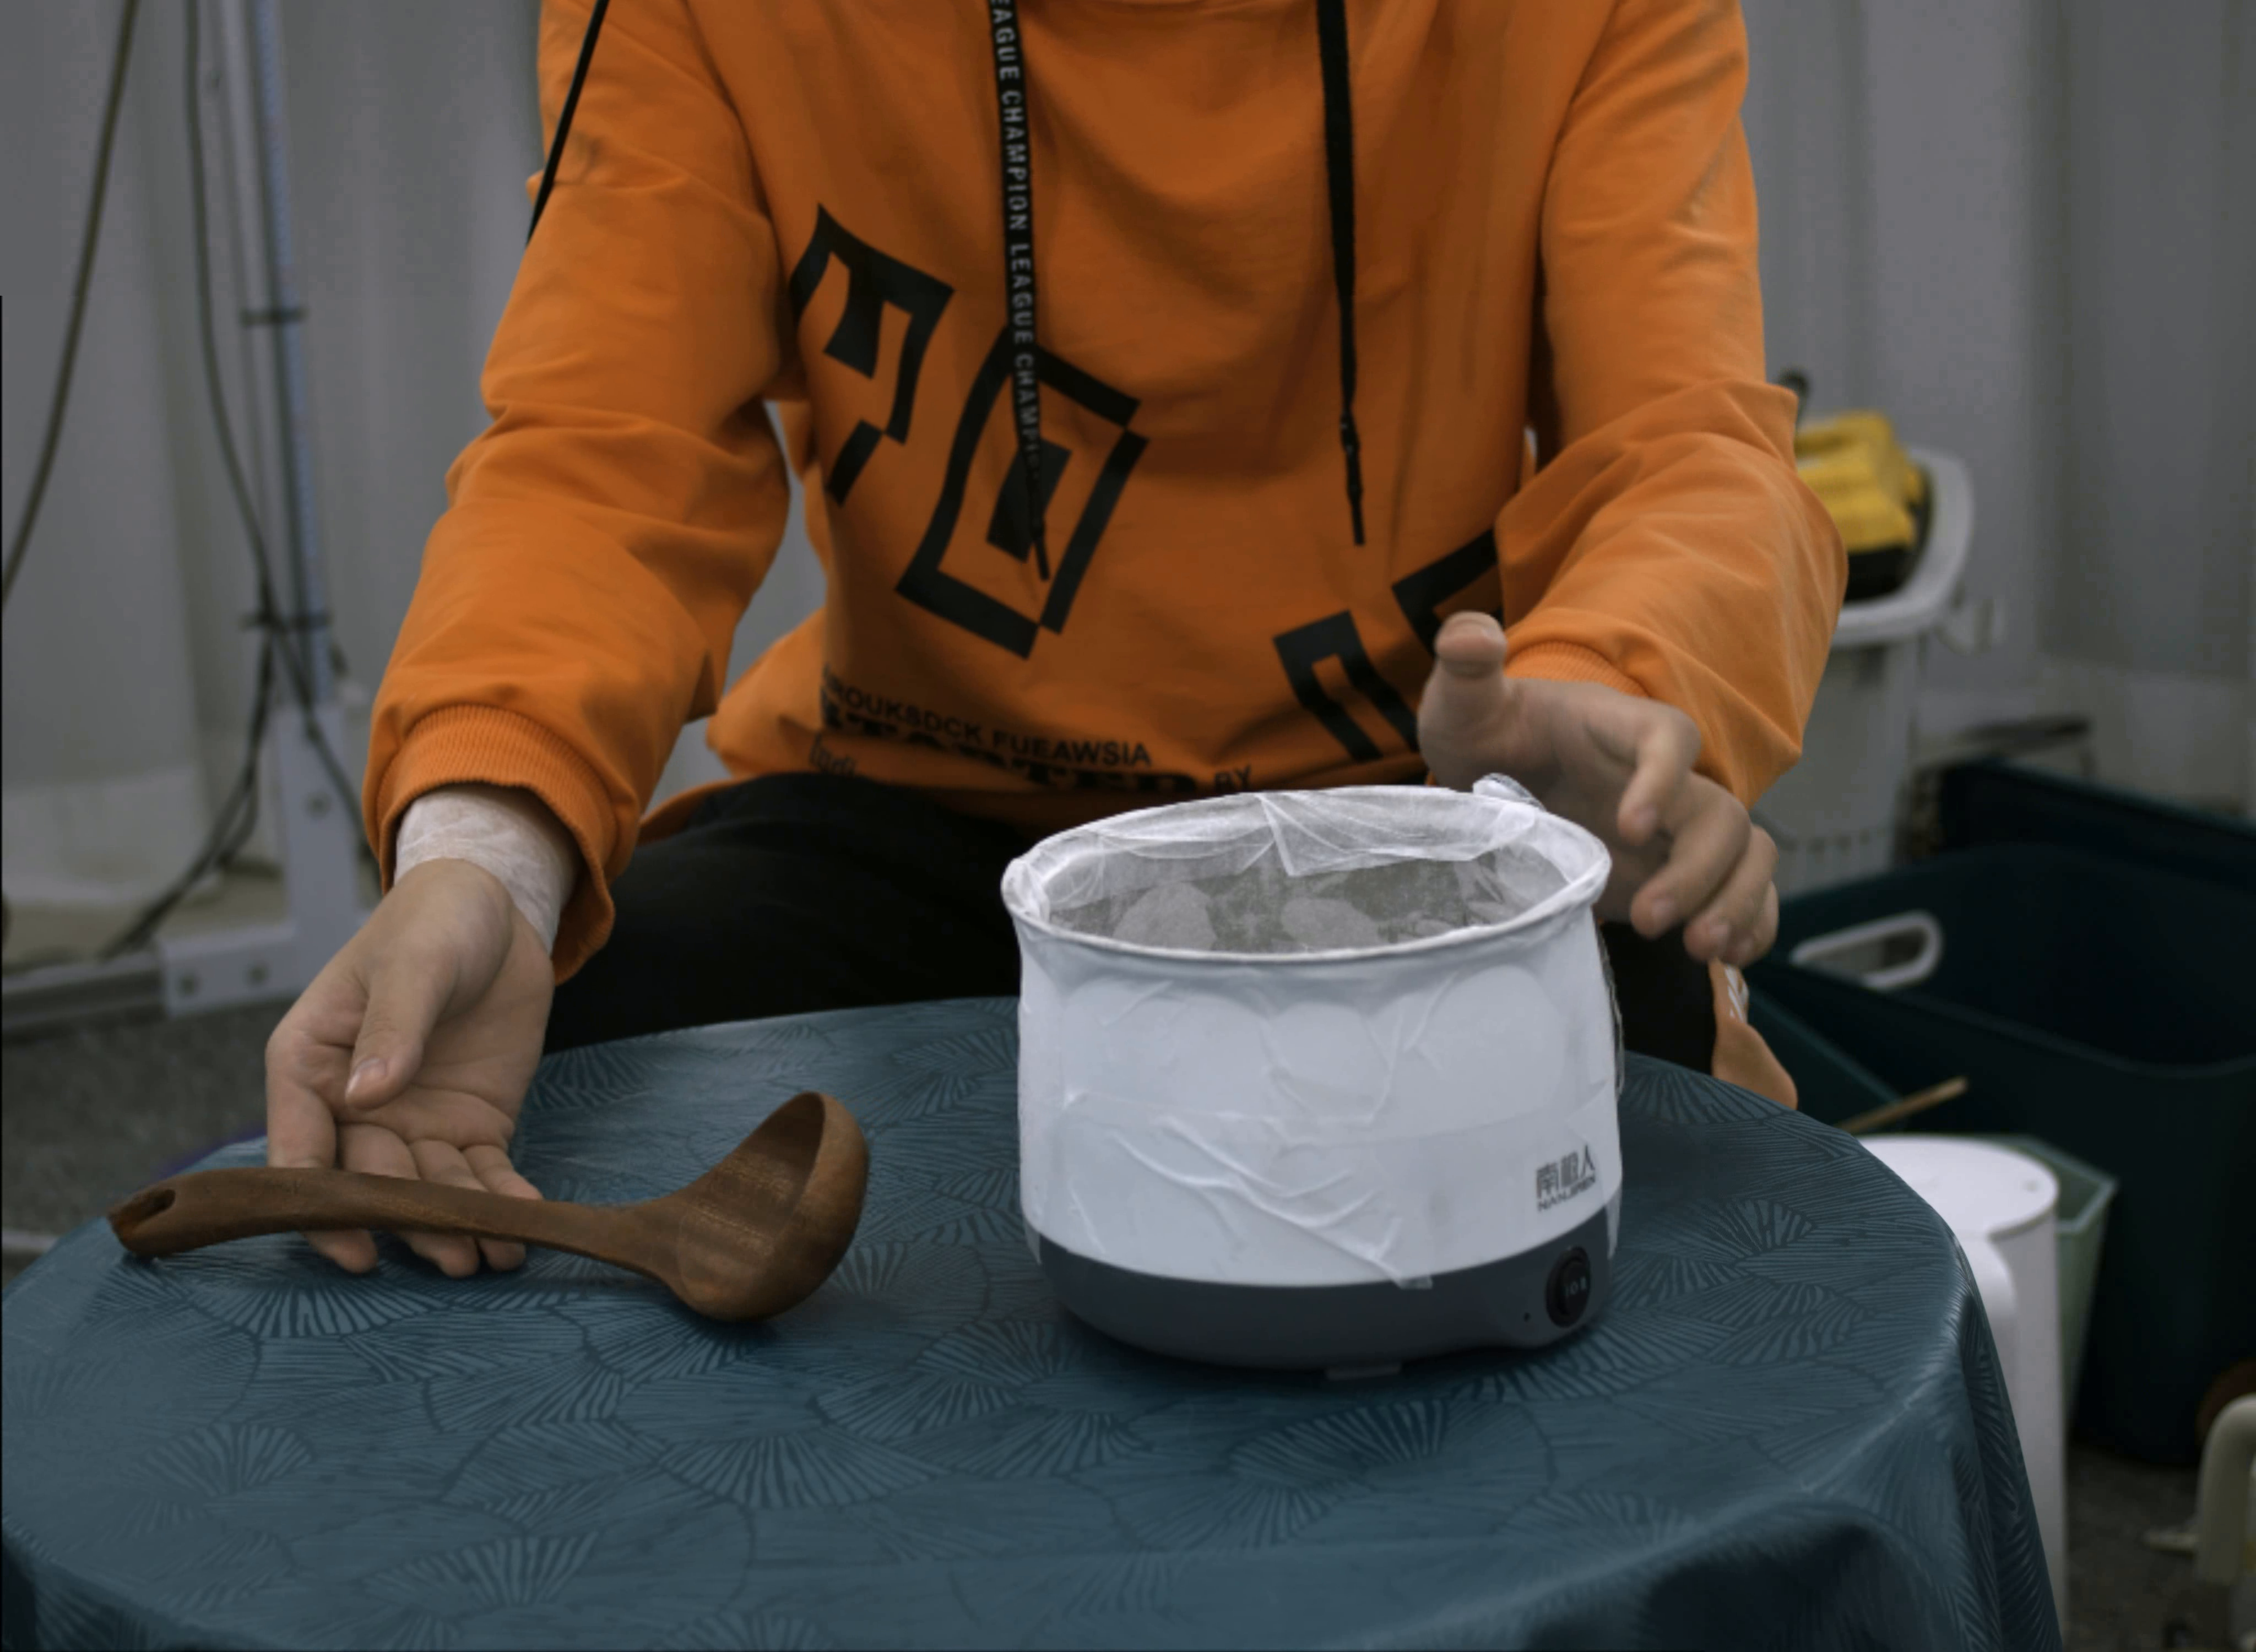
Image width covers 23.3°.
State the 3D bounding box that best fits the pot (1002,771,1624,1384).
[{"bbox_3d":[0.071,0.067,1.616,0.179,0.136,0.234,8,19,35],"label":"pot"}]

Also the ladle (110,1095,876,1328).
[{"bbox_3d":[-0.197,0.111,1.651,0.260,0.064,0.077,3,44,18],"label":"ladle"}]
